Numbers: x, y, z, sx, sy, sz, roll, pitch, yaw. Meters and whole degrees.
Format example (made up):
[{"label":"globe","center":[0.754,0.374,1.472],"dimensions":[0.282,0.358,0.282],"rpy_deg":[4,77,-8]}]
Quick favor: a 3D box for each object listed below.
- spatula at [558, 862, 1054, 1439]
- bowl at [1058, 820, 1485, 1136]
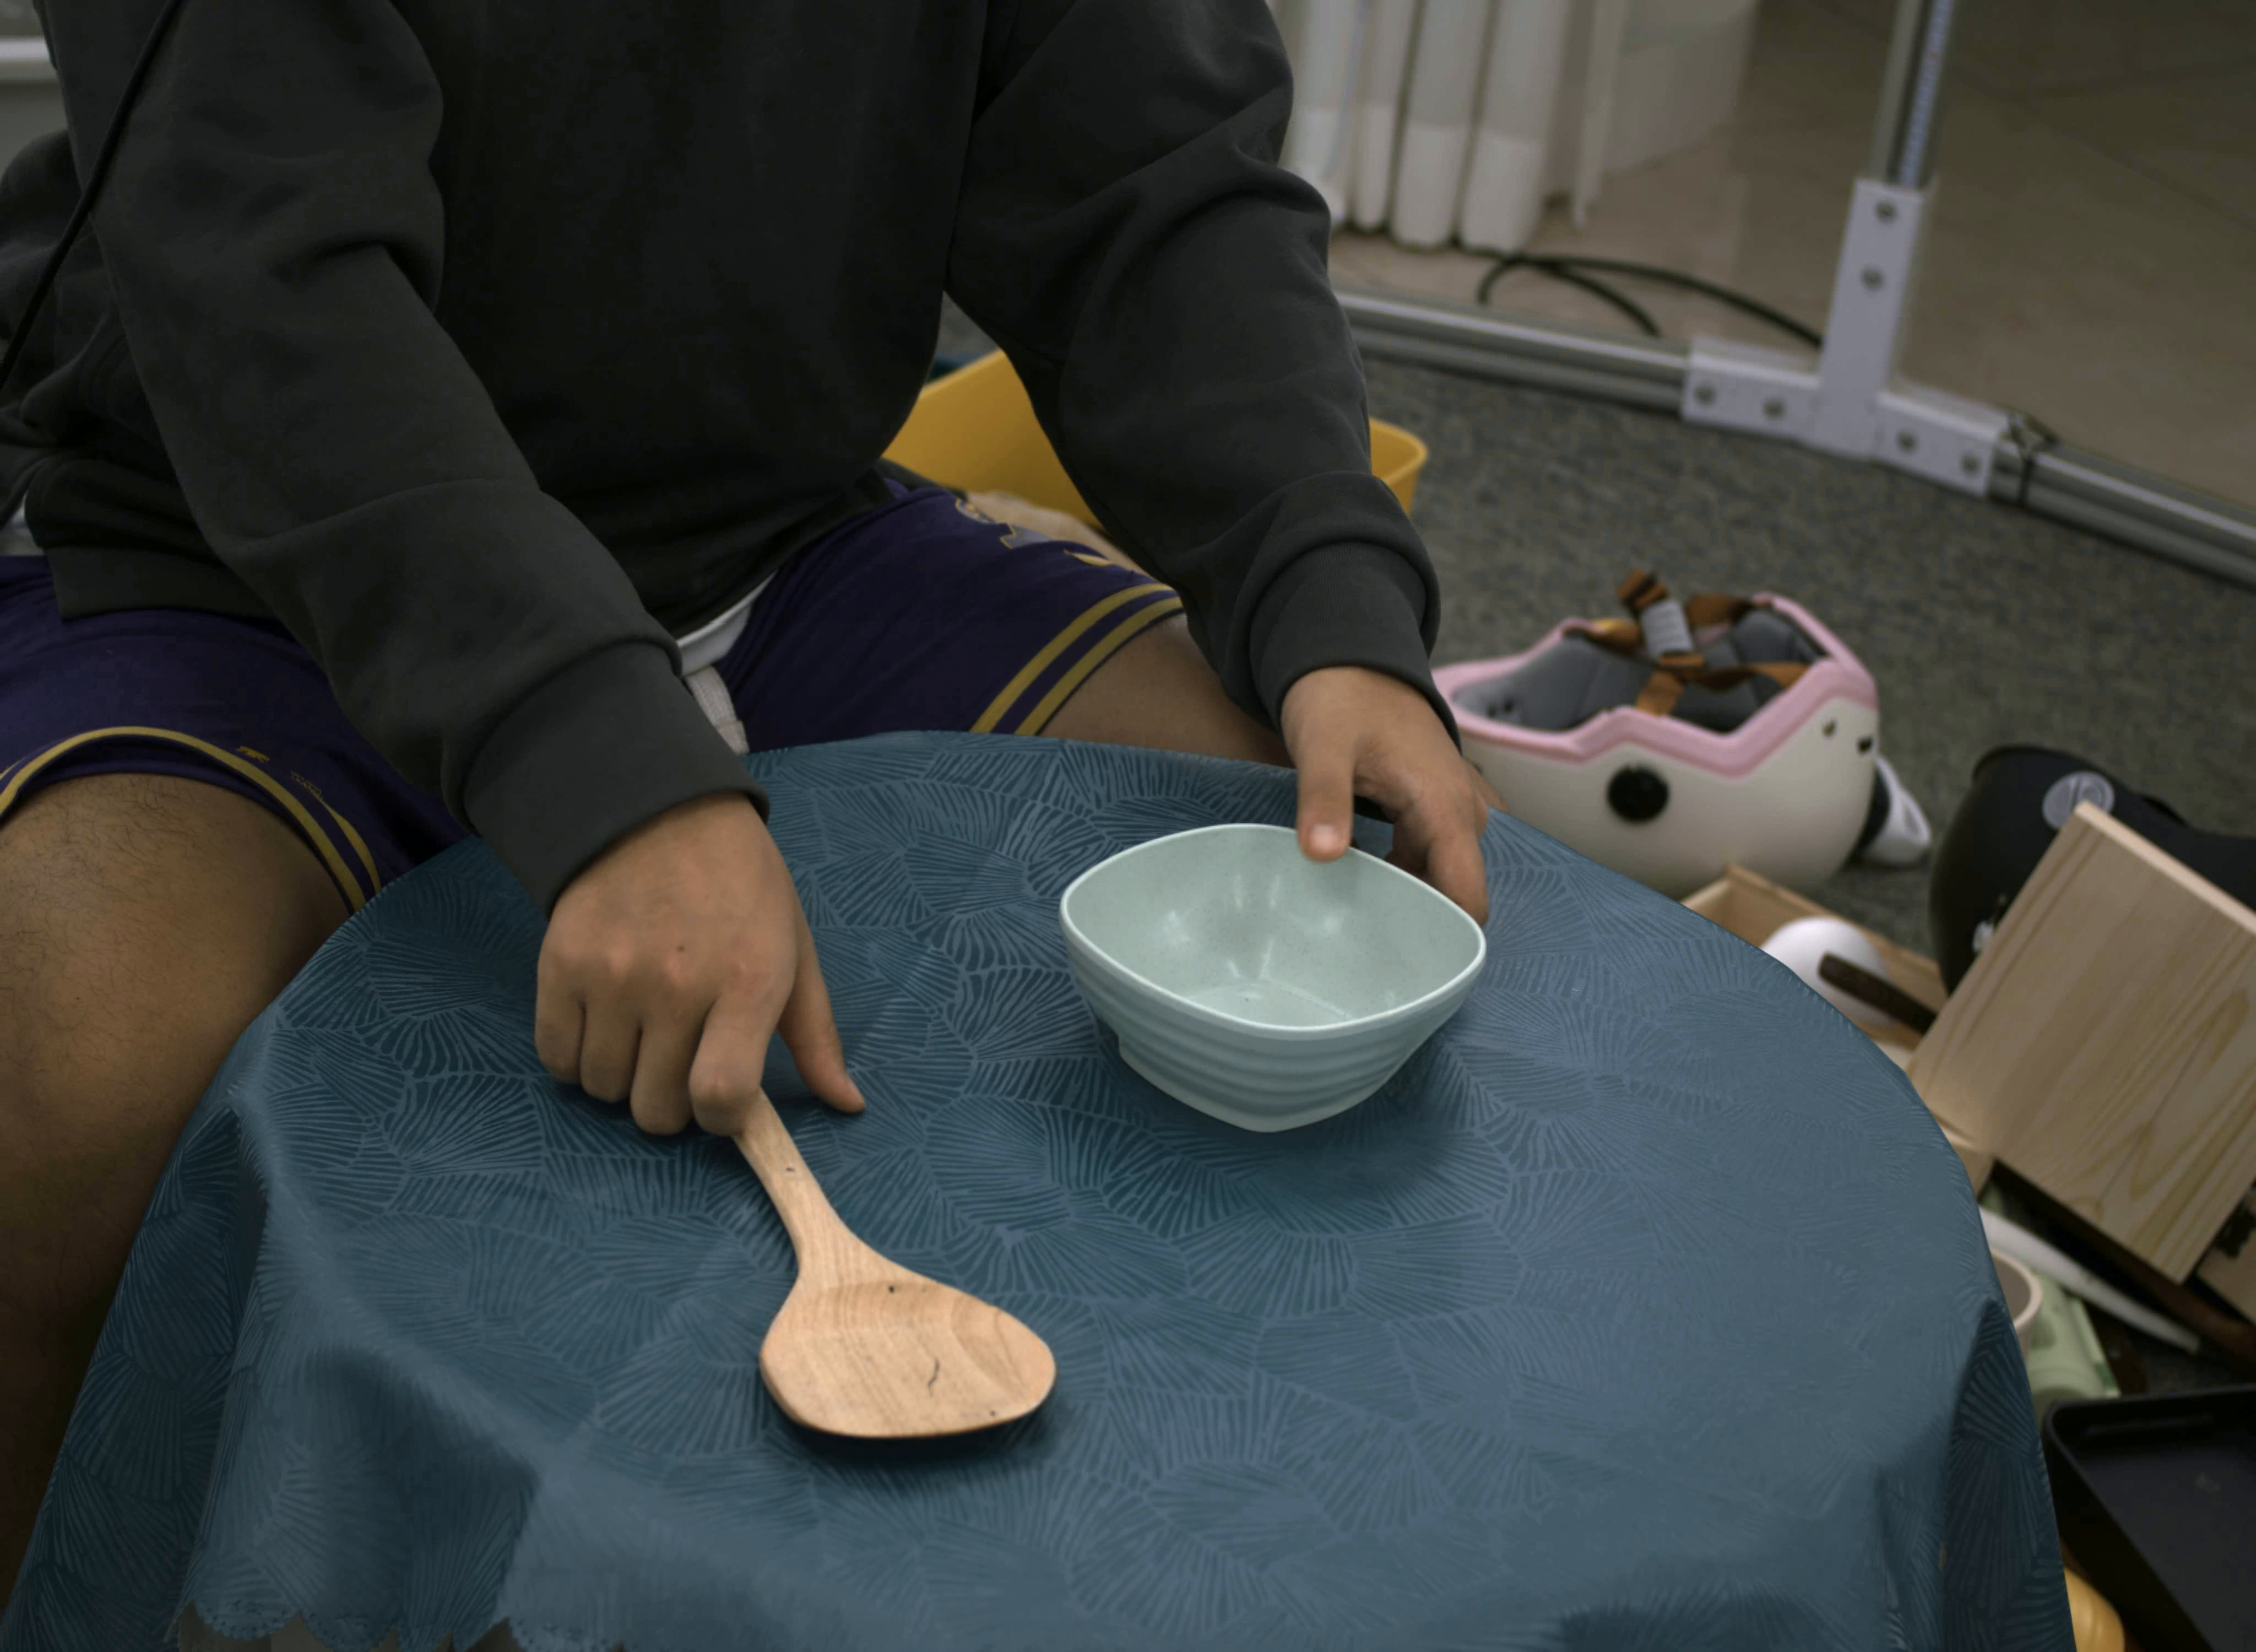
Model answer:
[{"label":"spatula","center":[-0.132,0.102,1.794],"dimensions":[0.095,0.018,0.394],"rpy_deg":[-4,29,-23]},{"label":"bowl","center":[0.047,0.059,1.877],"dimensions":[0.151,0.058,0.152],"rpy_deg":[6,28,-4]}]
